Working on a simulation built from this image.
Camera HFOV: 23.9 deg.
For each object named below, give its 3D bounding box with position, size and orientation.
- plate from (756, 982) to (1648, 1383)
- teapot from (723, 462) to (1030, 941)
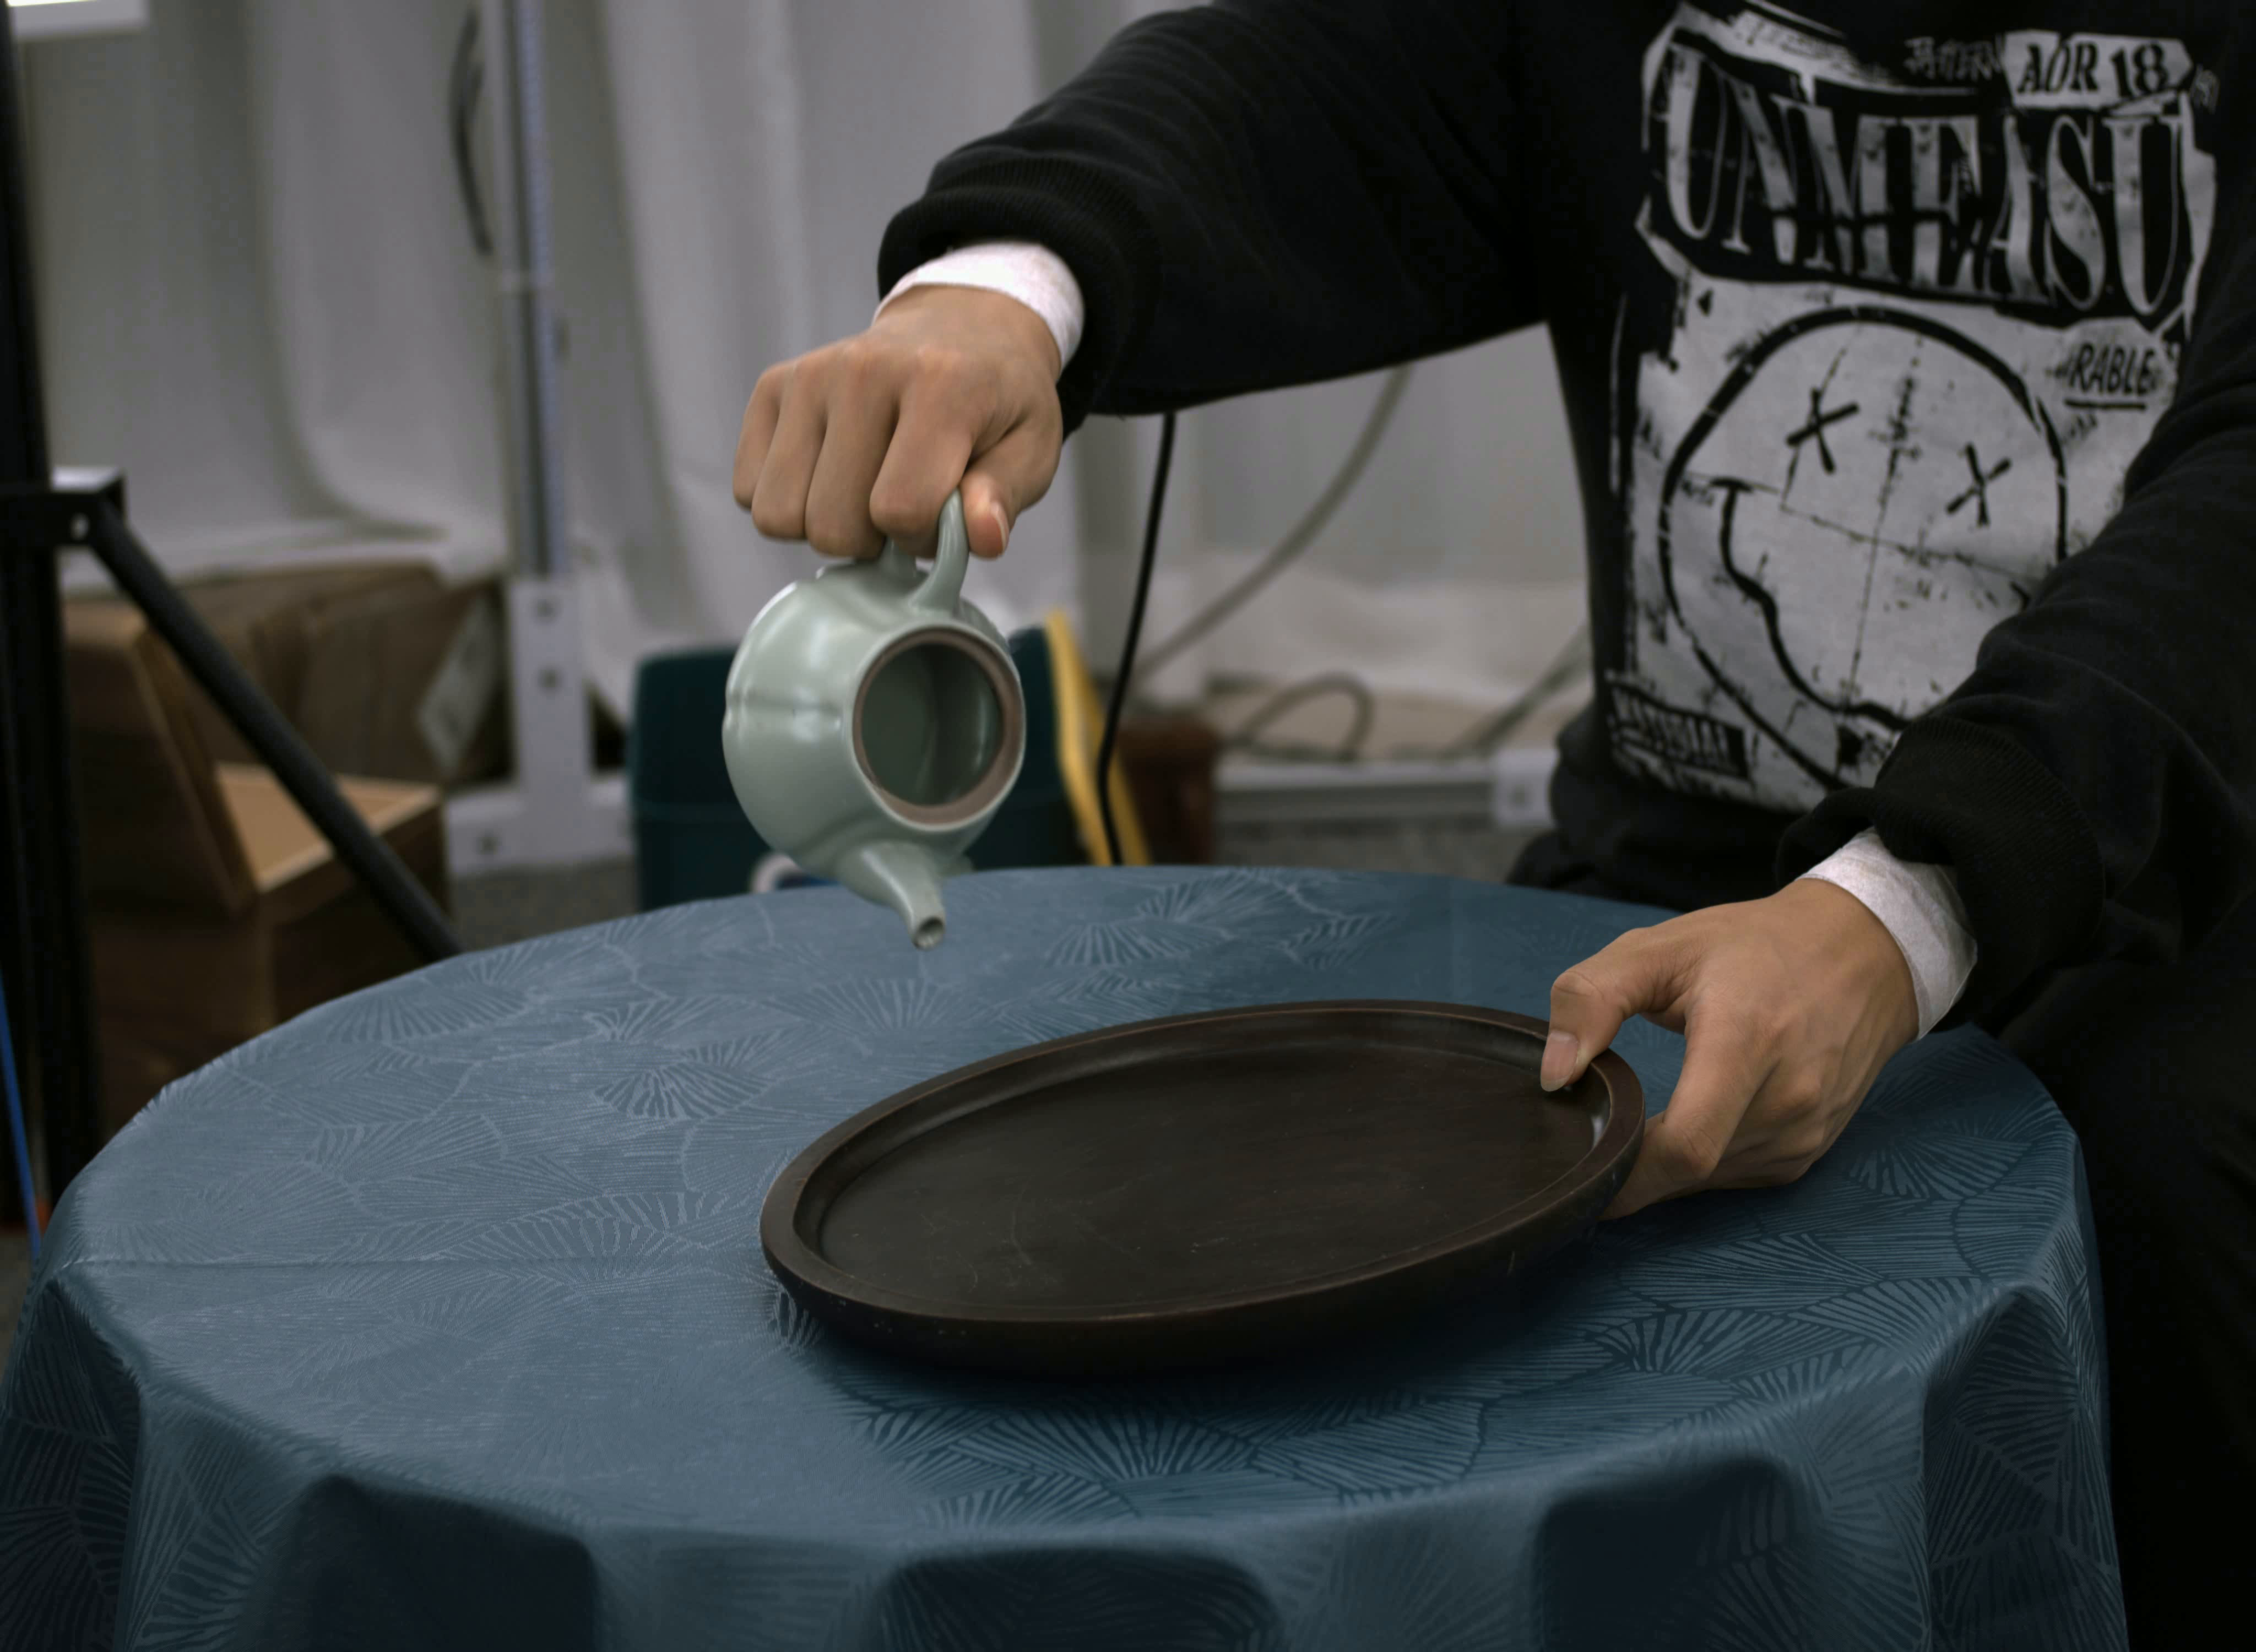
[{"bbox_3d":[0.022,0.100,1.491,0.254,0.029,0.256,-10,16,1],"label":"plate"},{"bbox_3d":[-0.068,-0.037,1.552,0.094,0.137,0.062,1,3,-30],"label":"teapot"}]
